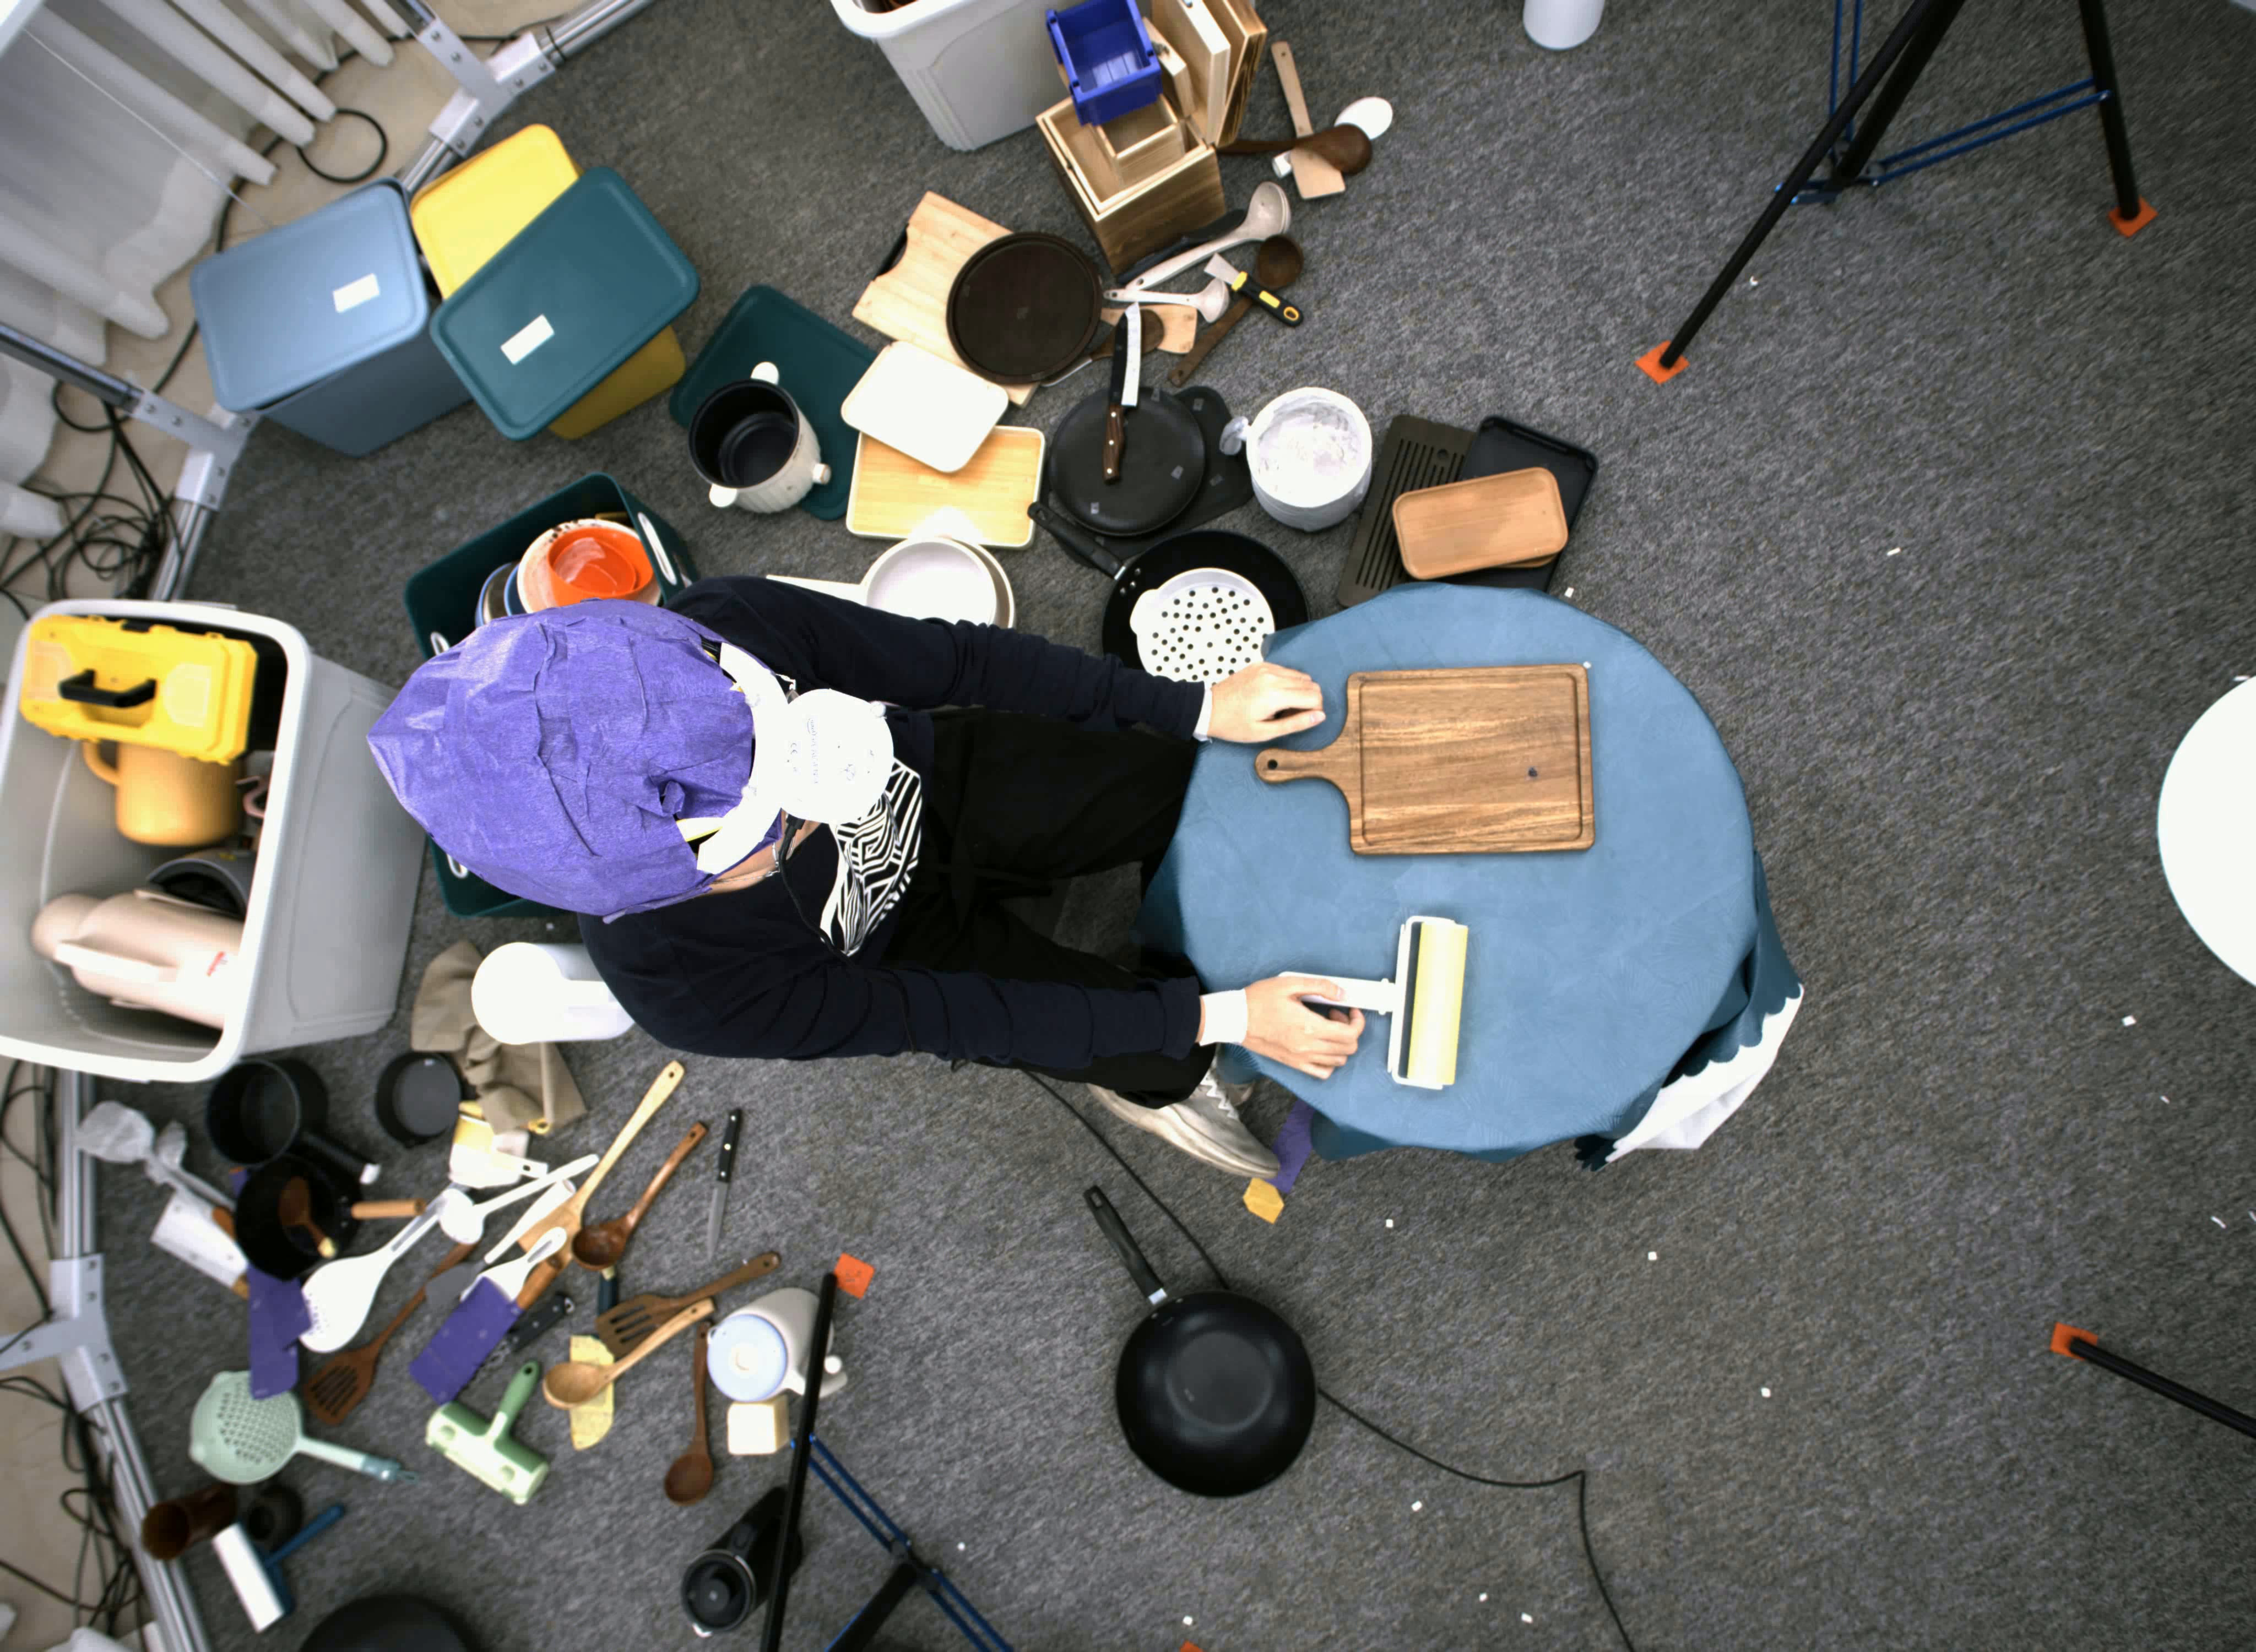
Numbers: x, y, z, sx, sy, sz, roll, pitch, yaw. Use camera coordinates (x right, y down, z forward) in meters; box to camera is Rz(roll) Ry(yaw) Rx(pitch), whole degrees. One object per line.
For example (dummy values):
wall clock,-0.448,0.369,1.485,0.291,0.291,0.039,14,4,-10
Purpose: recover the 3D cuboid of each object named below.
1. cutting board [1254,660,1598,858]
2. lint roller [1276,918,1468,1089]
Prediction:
cutting board,0.309,-0.070,1.450,0.353,0.023,0.200,-2,86,11
lint roller,0.250,0.176,1.432,0.192,0.051,0.173,4,86,8
